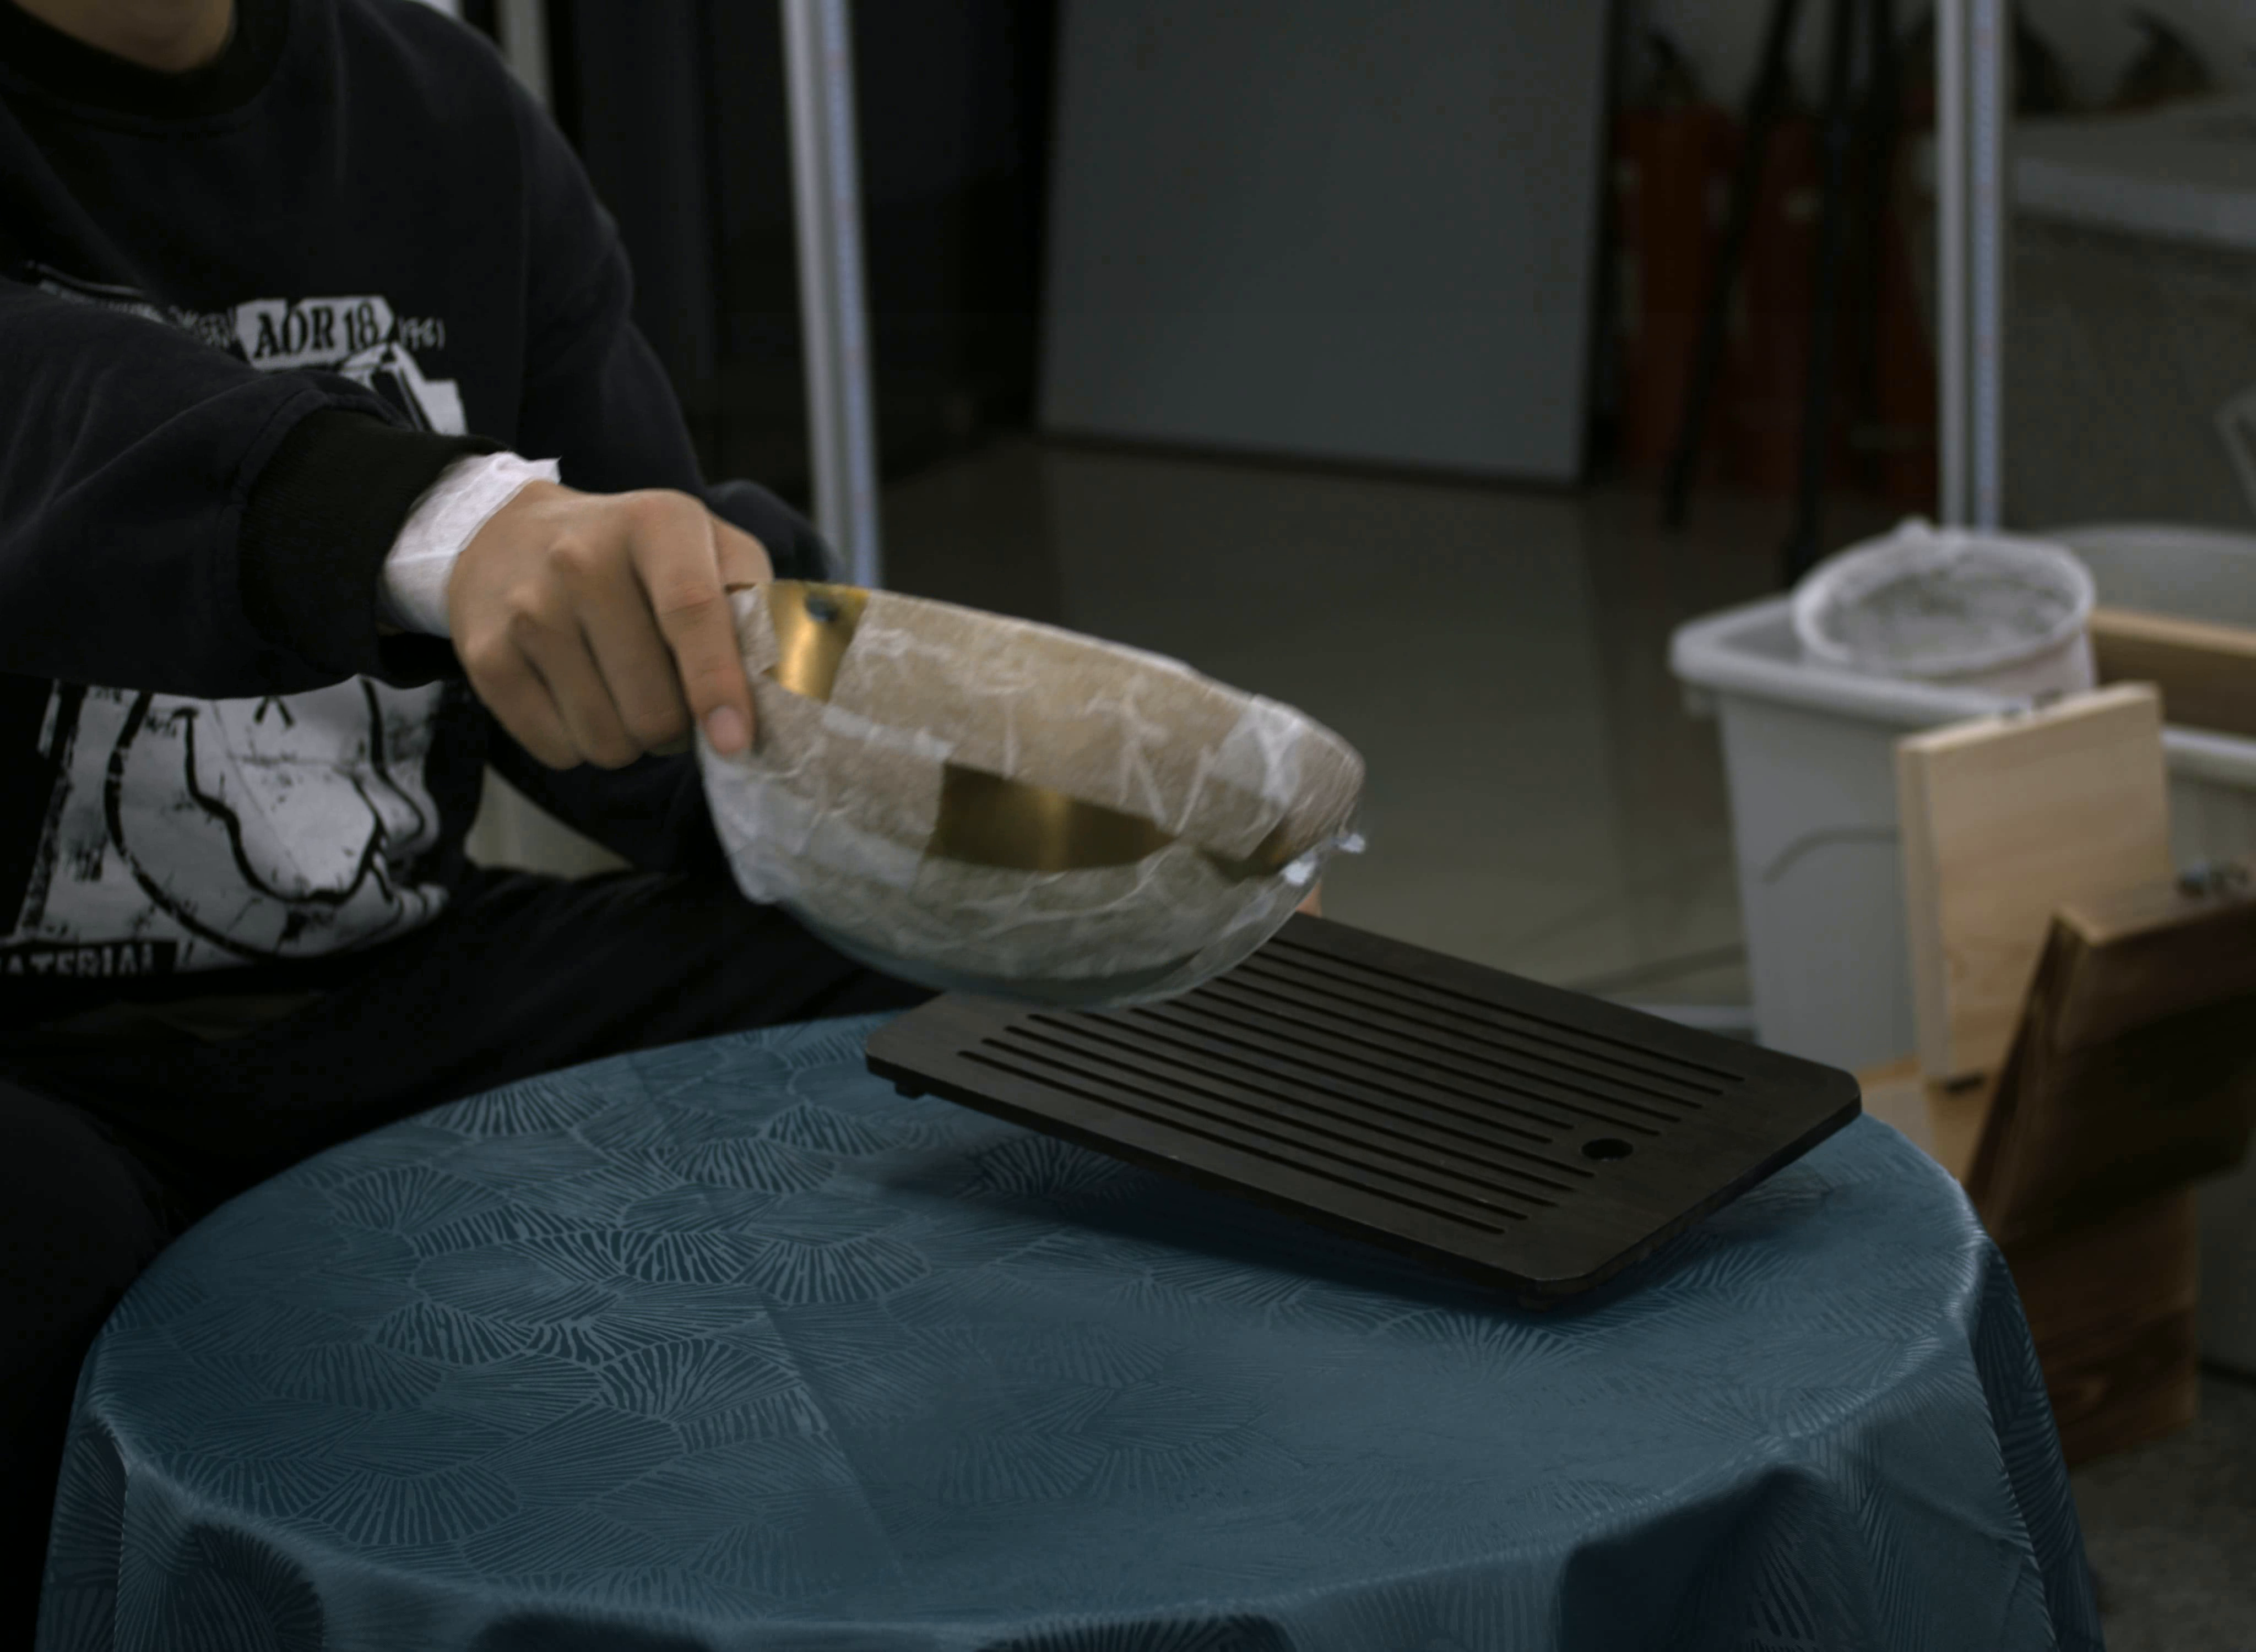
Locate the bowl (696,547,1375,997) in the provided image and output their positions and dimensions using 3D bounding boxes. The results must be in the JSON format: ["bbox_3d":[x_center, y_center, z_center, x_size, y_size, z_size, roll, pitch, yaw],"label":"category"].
[{"bbox_3d":[-0.035,-0.003,1.559,0.212,0.095,0.215,13,-9,1],"label":"bowl"}]

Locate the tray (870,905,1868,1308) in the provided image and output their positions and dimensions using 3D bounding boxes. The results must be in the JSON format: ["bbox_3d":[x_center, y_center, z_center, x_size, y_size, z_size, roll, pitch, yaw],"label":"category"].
[{"bbox_3d":[0.076,0.085,1.766,0.308,0.019,0.167,15,30,40],"label":"tray"}]
